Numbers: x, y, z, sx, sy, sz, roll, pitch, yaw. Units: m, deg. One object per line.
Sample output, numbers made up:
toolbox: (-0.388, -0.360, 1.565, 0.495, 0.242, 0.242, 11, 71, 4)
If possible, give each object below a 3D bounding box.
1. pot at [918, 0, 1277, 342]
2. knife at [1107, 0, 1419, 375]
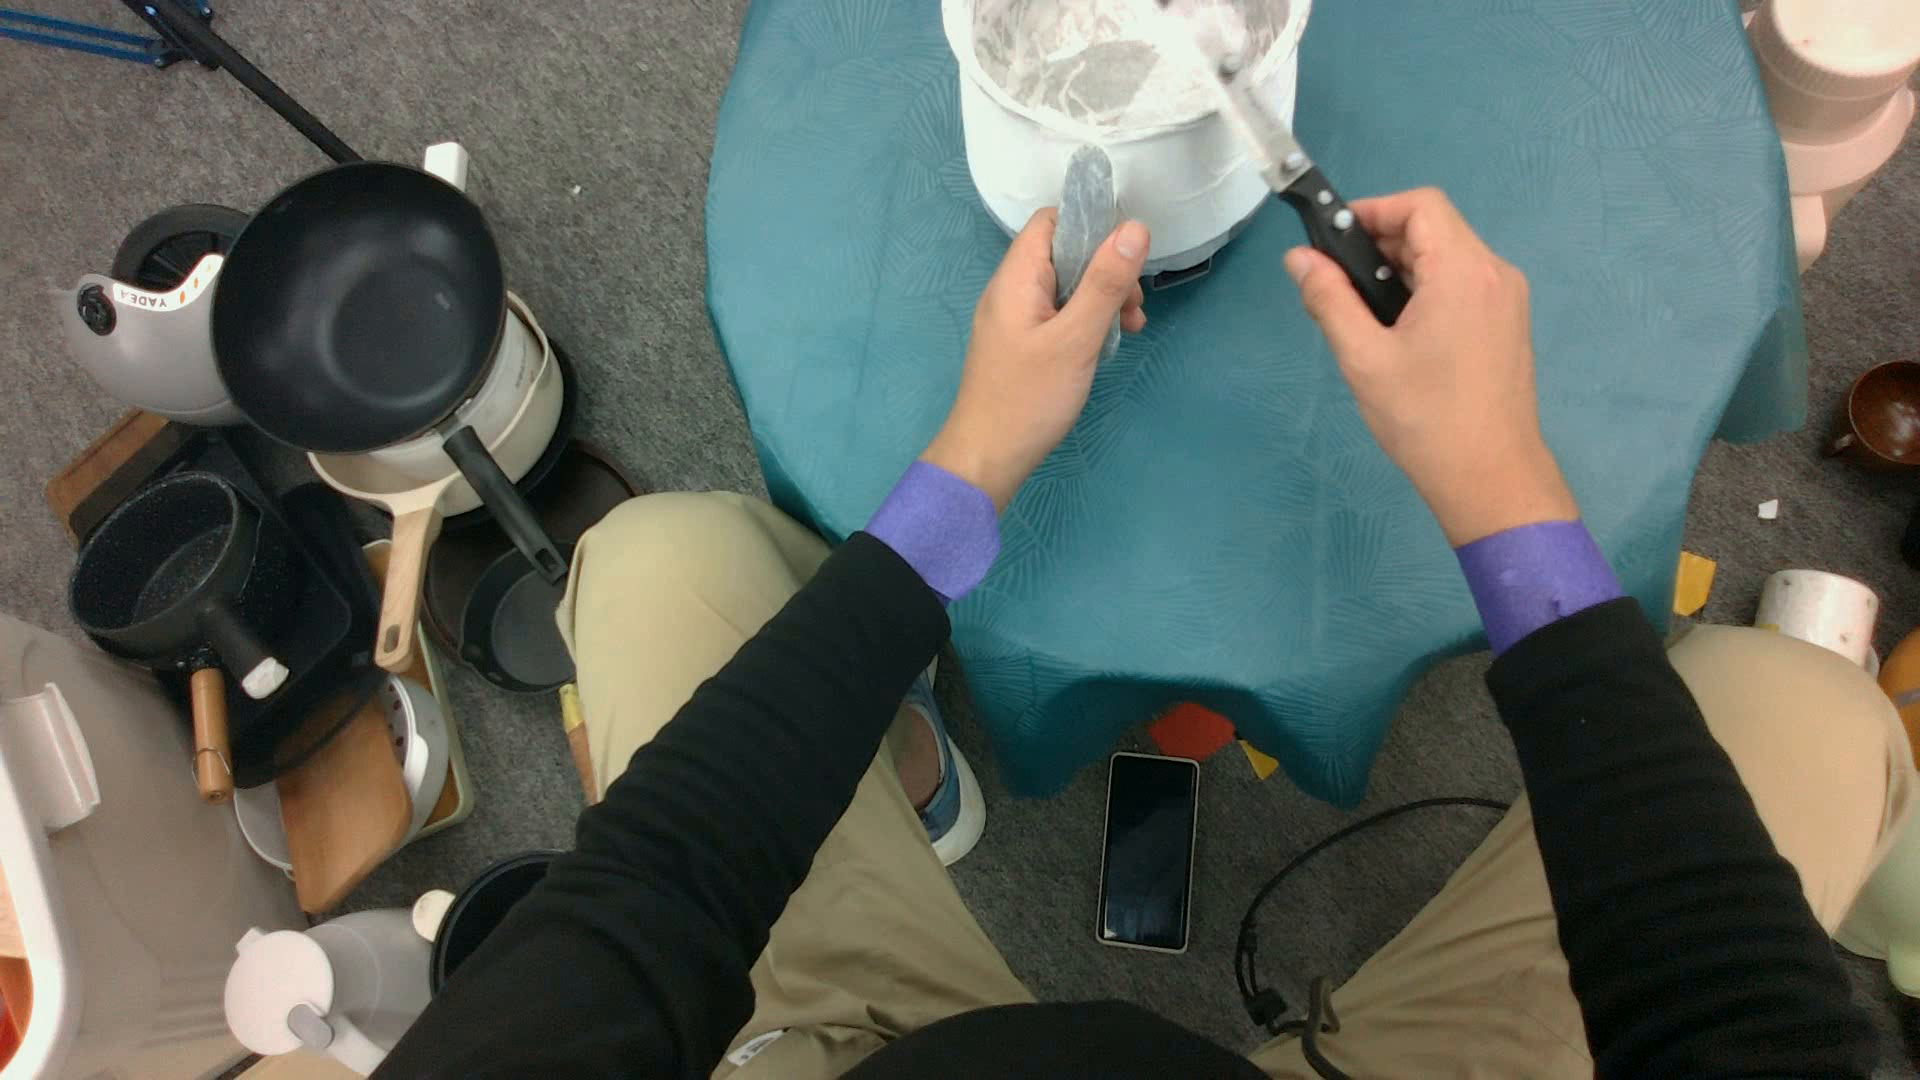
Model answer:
pot: (0.069, -0.224, 0.710, 0.178, 0.136, 0.234, 6, 66, 10)
knife: (0.129, -0.171, 0.611, 0.024, 0.016, 0.238, -41, 96, -15)
